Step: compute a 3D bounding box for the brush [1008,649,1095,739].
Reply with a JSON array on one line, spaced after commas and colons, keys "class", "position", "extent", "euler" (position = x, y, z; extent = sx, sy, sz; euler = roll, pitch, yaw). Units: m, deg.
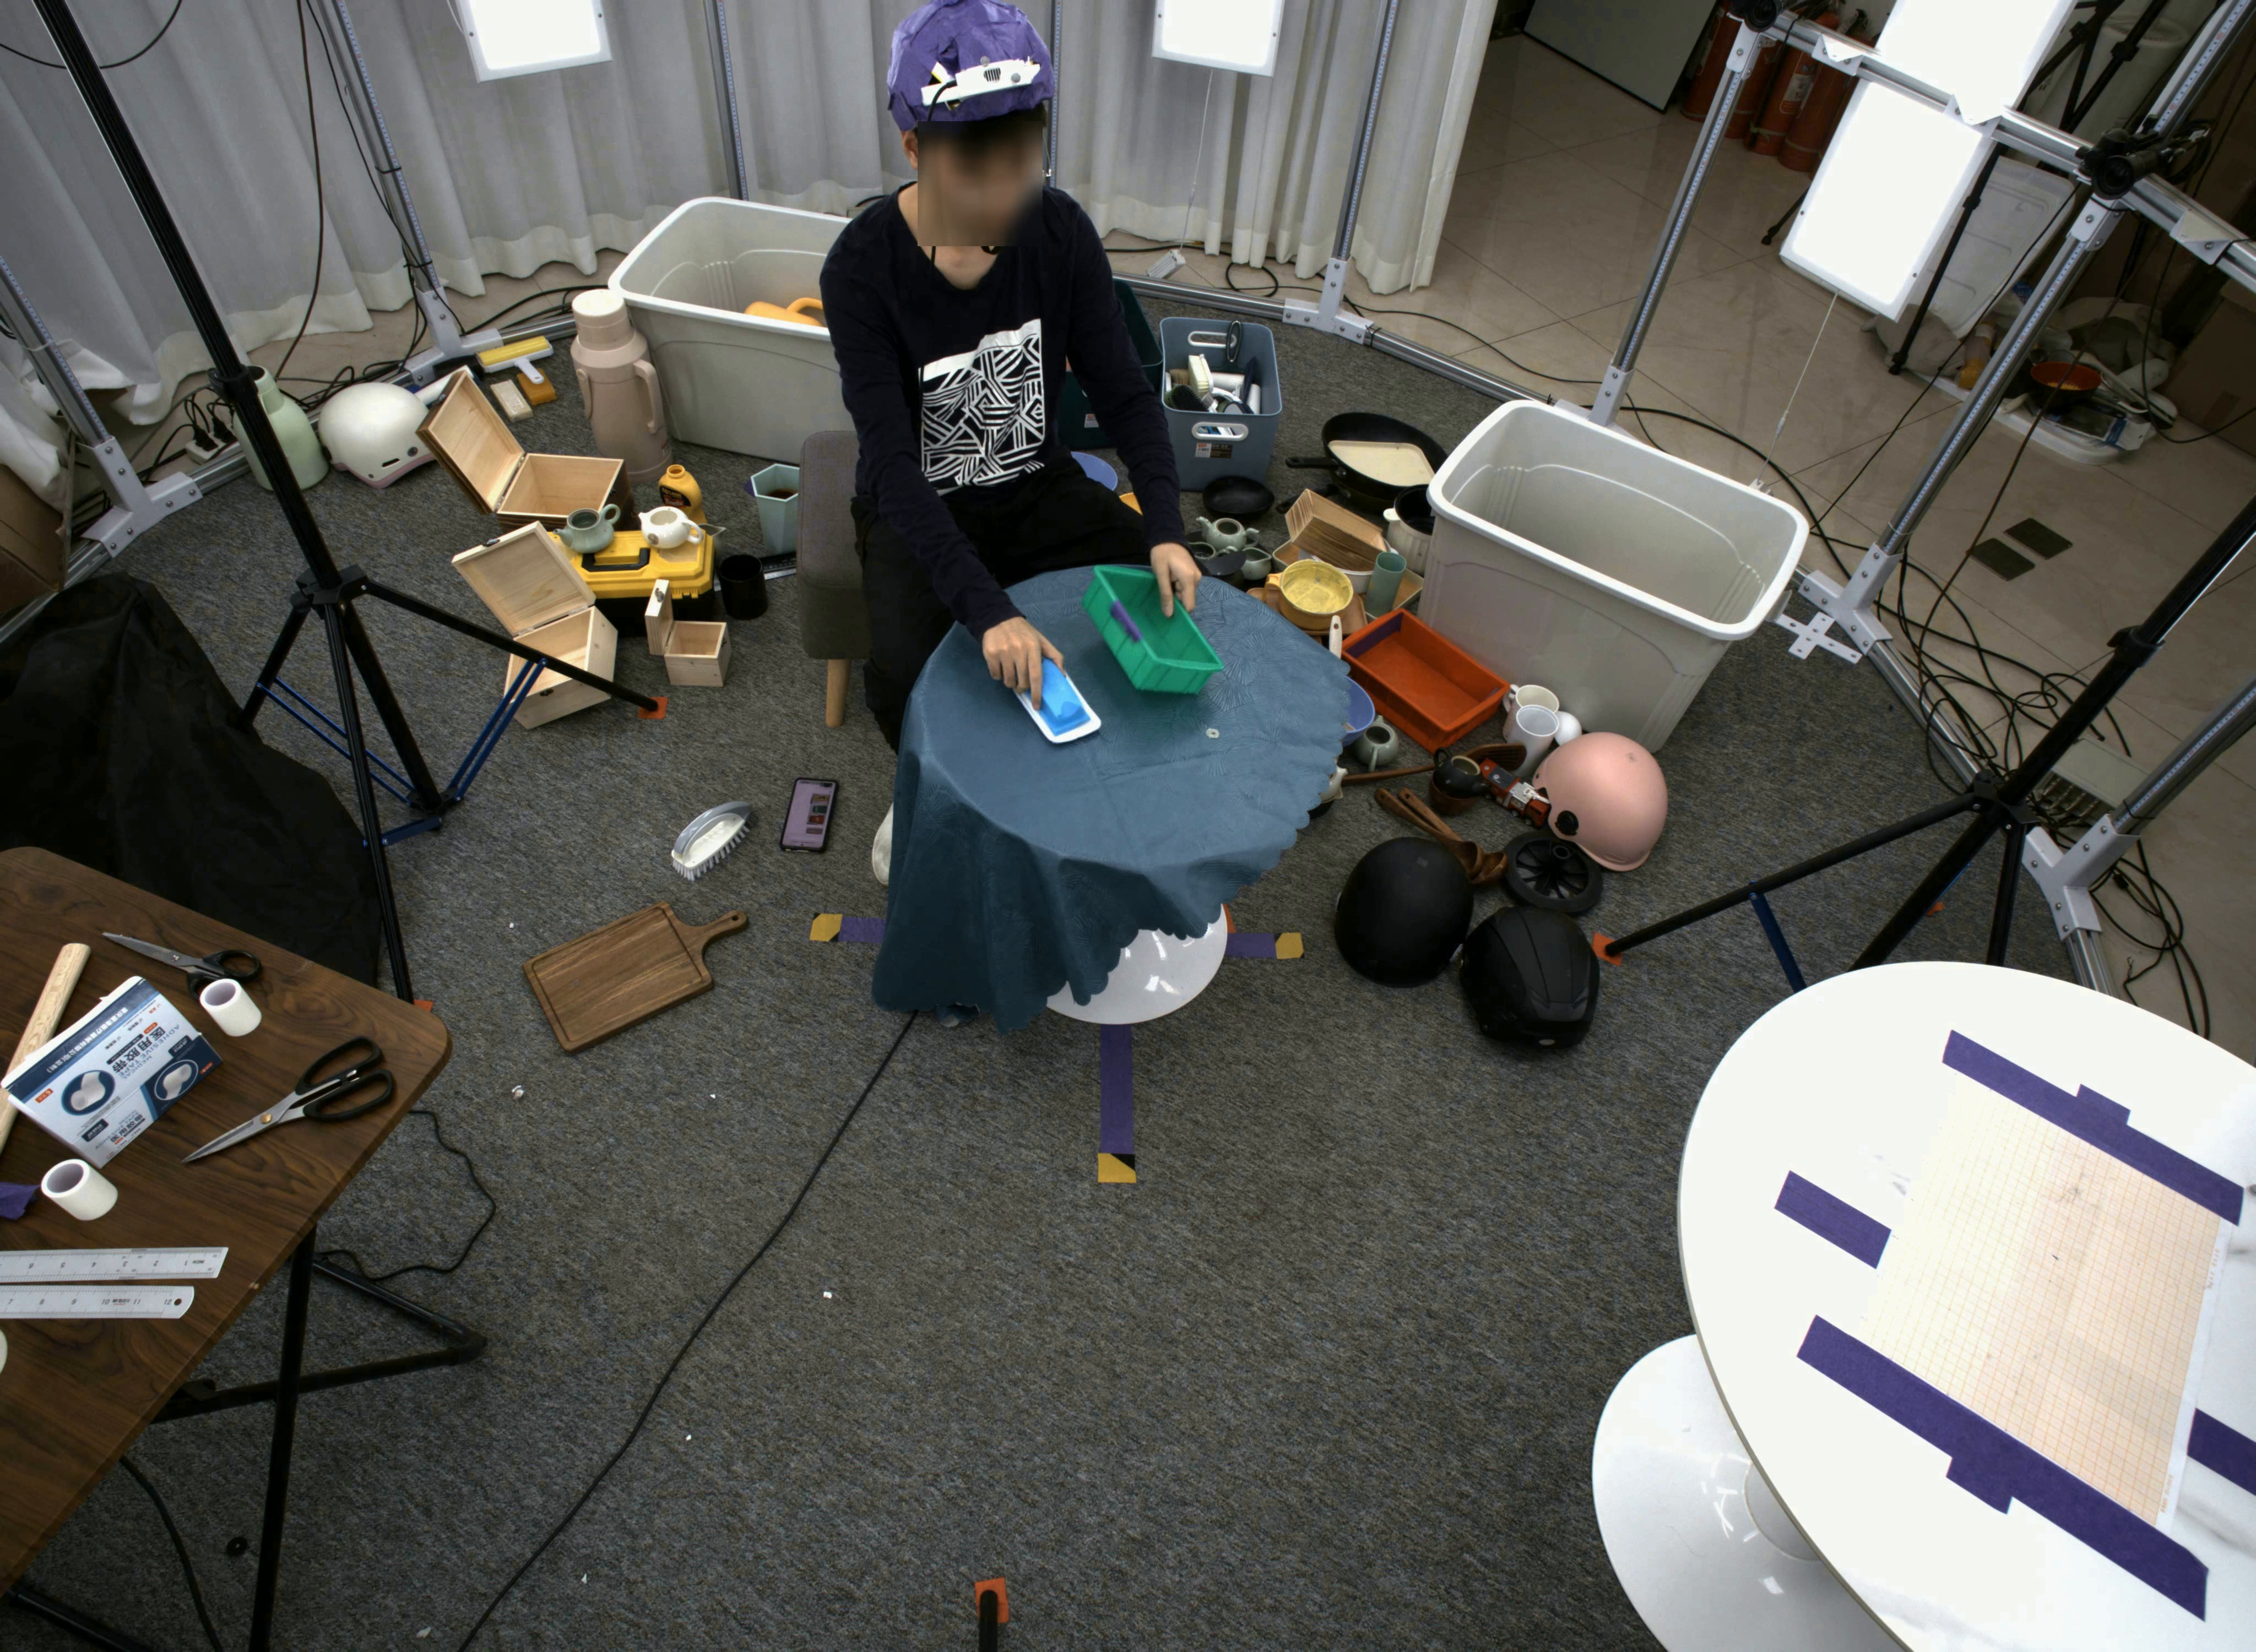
[{"class": "brush", "position": [-0.105, -0.191, 1.778], "extent": [0.084, 0.055, 0.147], "euler": [-22, 62, -16]}]

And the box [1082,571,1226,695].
[{"class": "box", "position": [0.032, -0.271, 1.827], "extent": [0.138, 0.064, 0.215], "euler": [-2, 48, -40]}]
